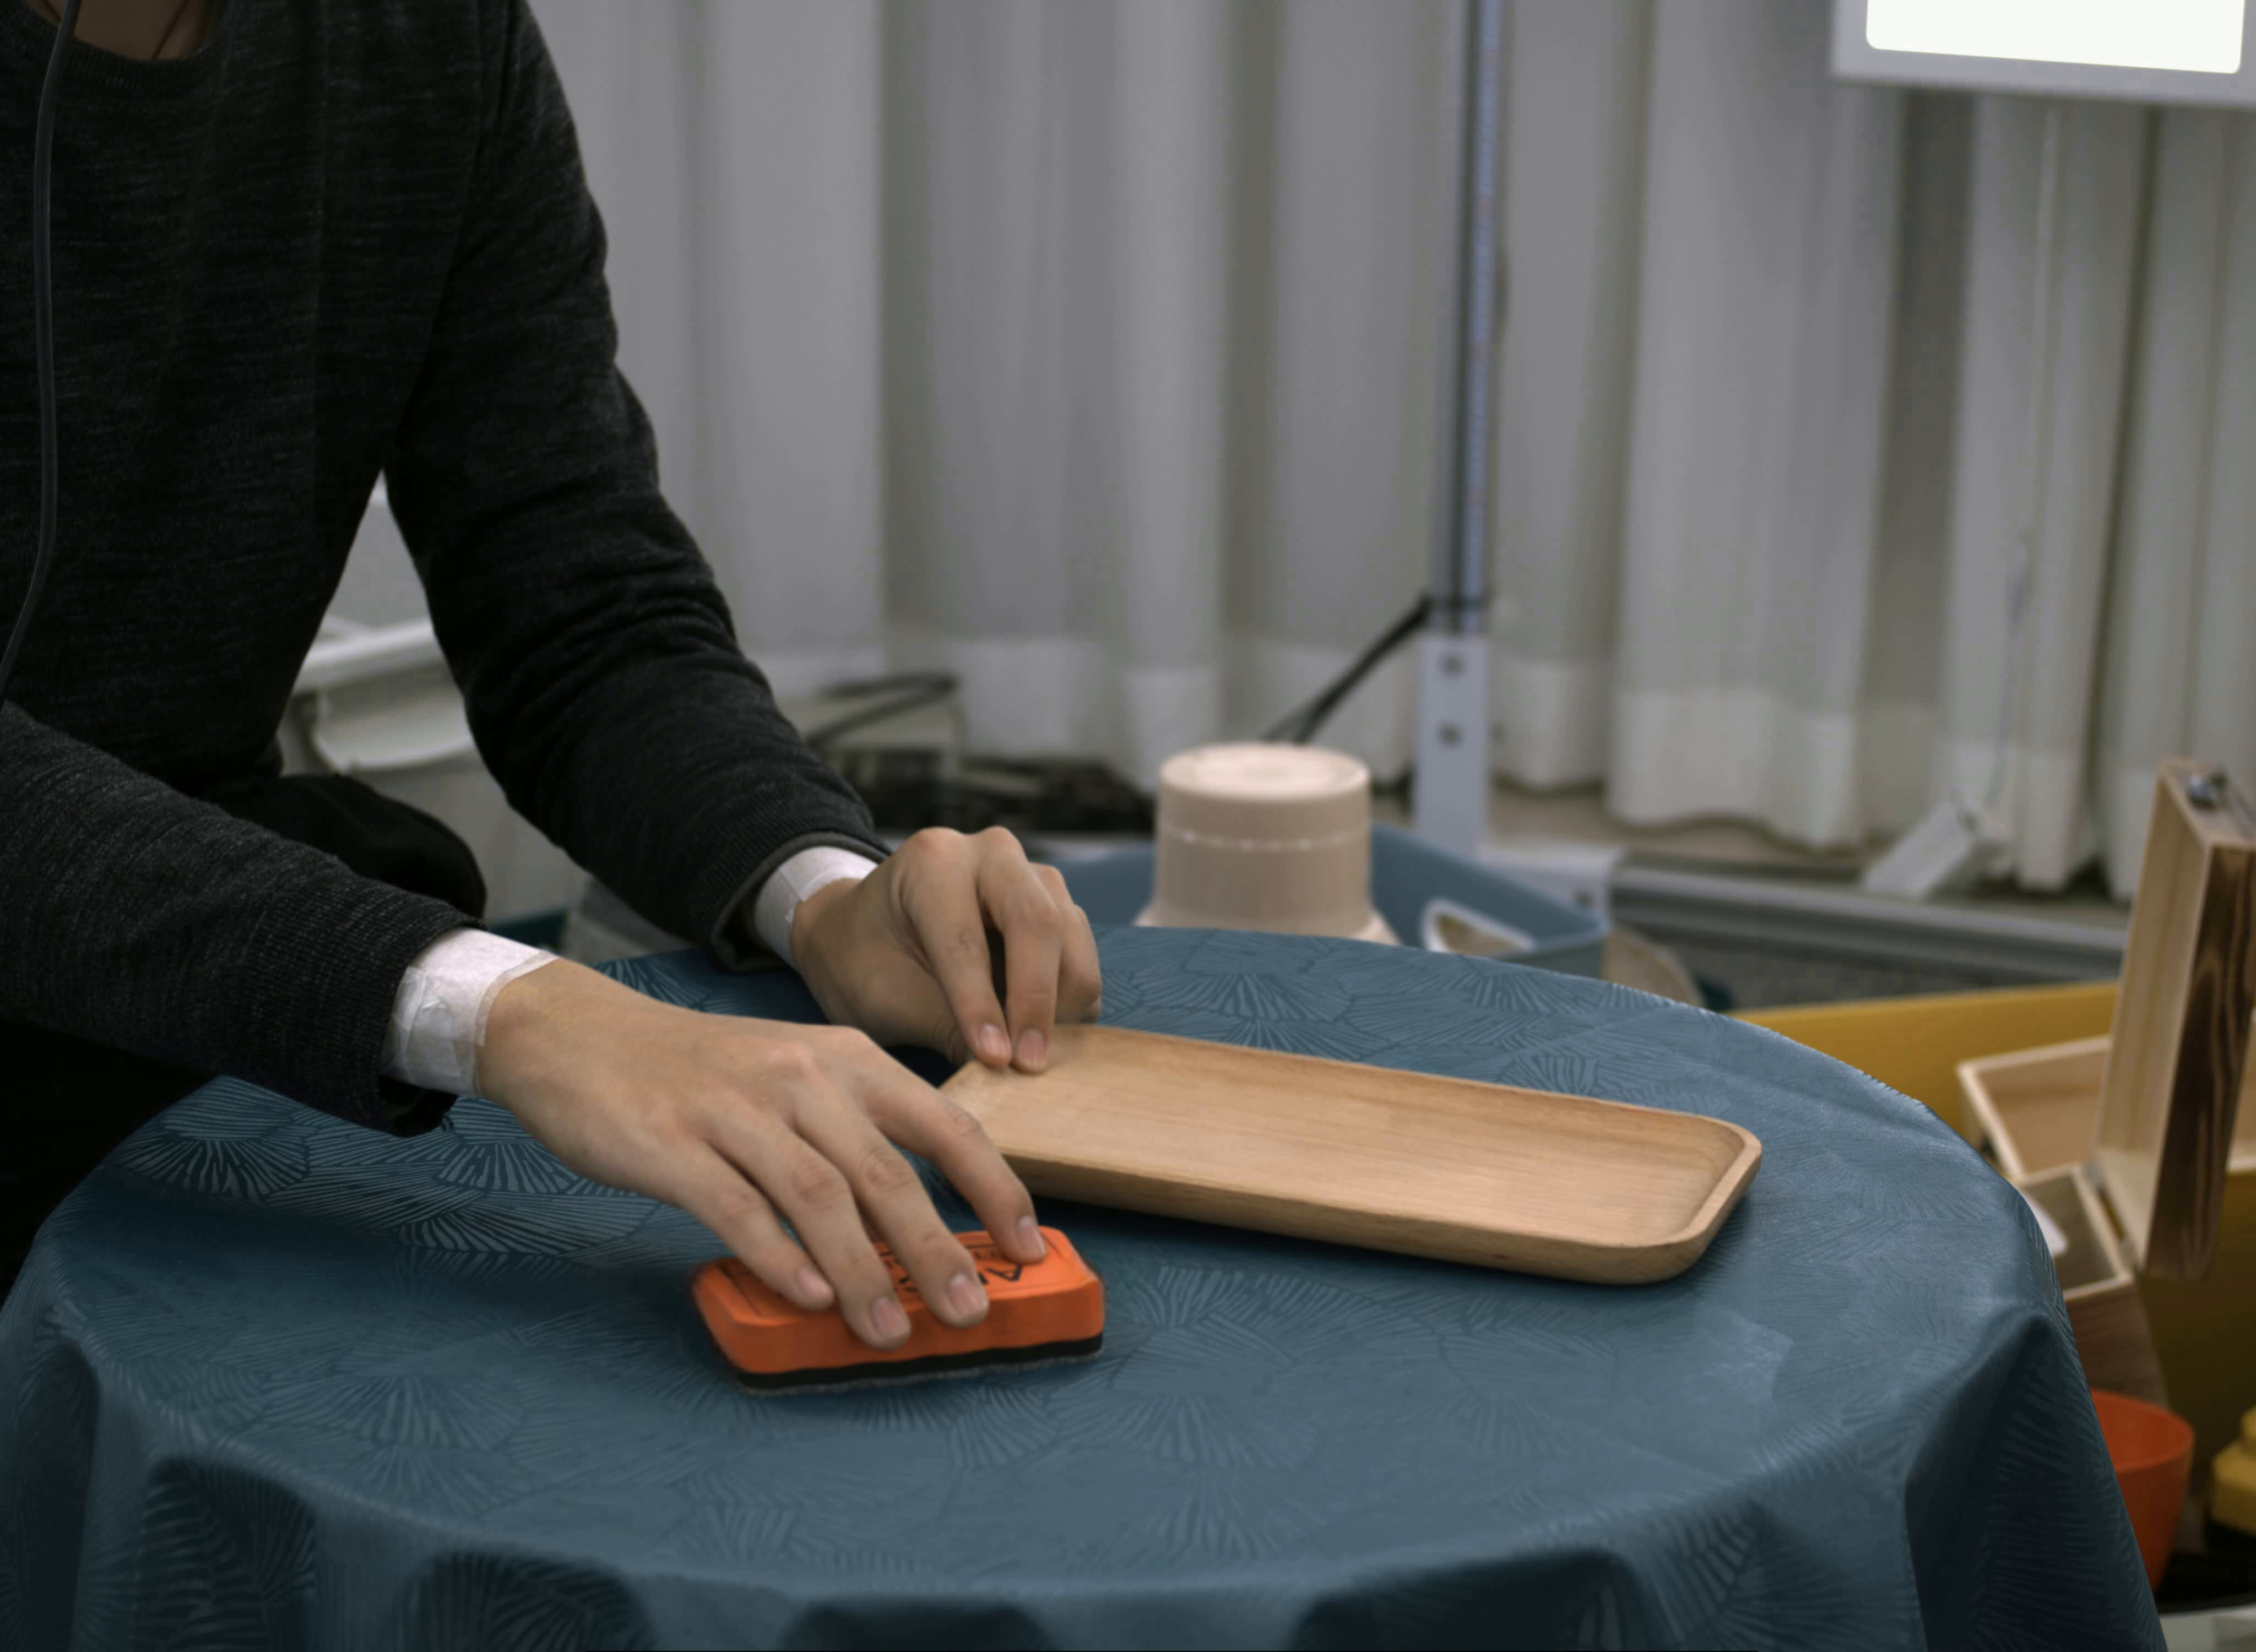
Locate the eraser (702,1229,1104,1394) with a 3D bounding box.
[{"bbox_3d":[-0.064,0.136,1.487,0.108,0.023,0.058,-4,14,-16],"label":"eraser"}]

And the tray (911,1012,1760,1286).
[{"bbox_3d":[0.064,0.098,1.620,0.248,0.023,0.130,8,16,18],"label":"tray"}]
